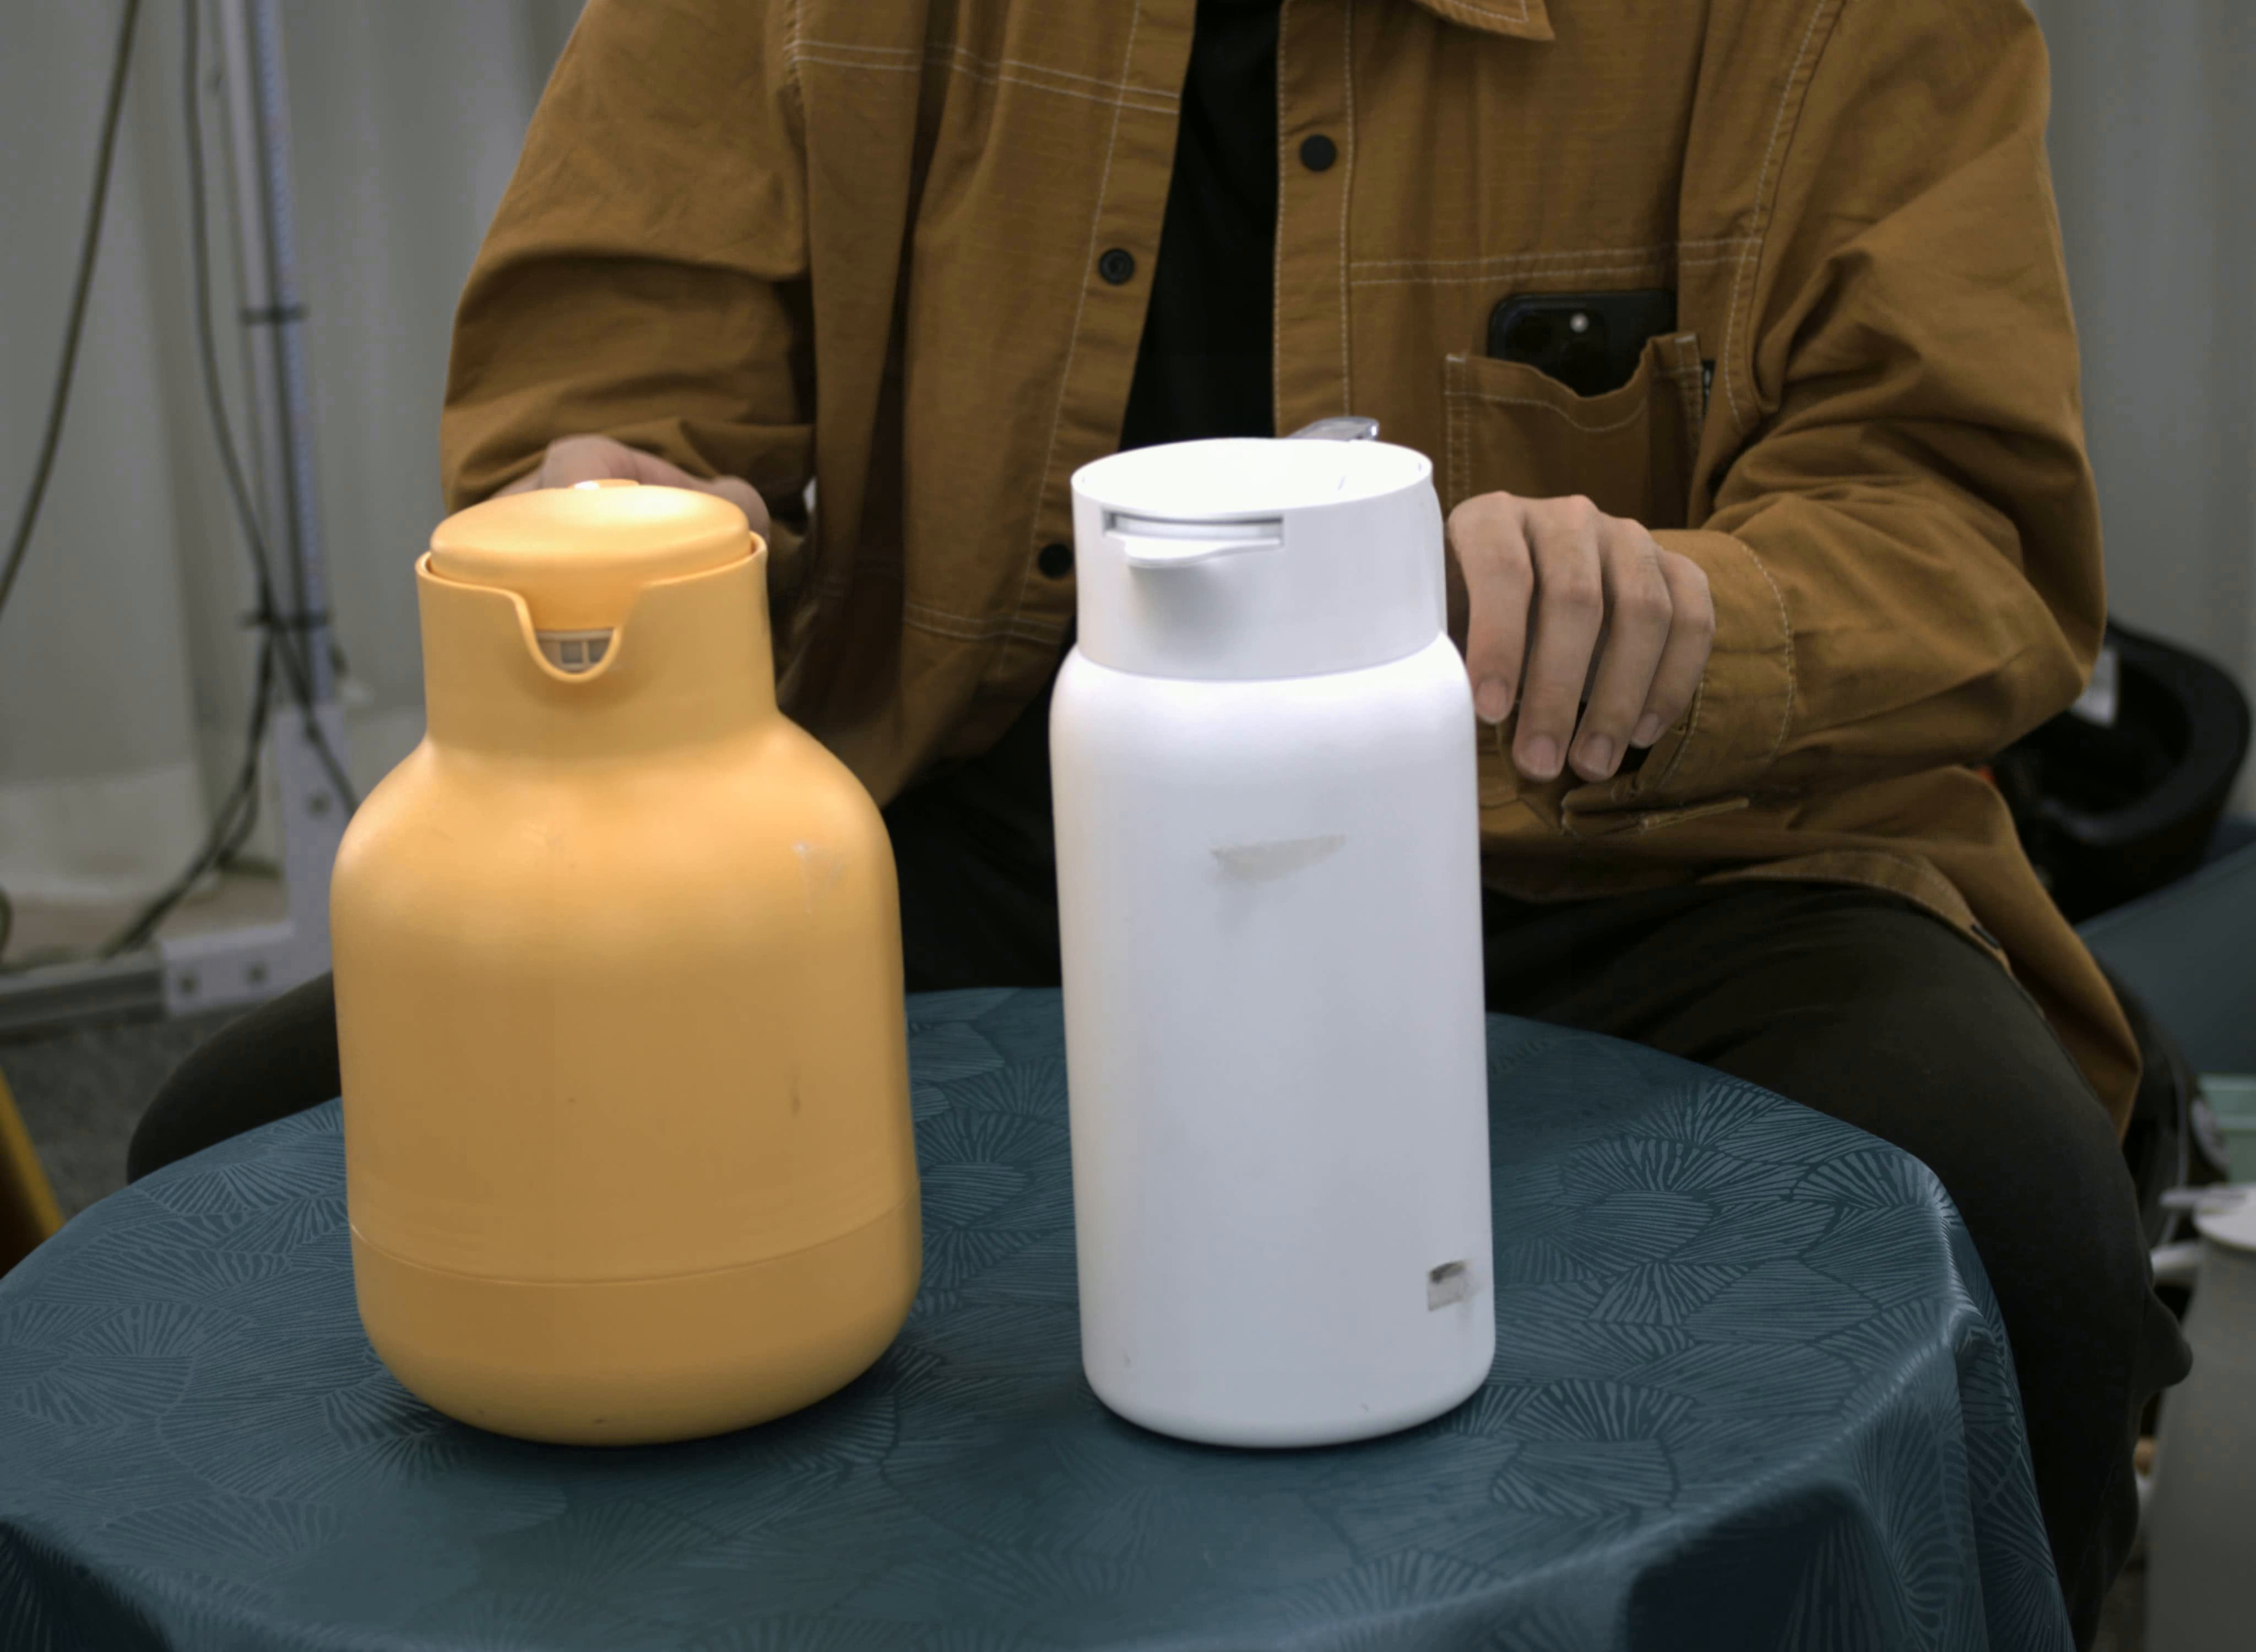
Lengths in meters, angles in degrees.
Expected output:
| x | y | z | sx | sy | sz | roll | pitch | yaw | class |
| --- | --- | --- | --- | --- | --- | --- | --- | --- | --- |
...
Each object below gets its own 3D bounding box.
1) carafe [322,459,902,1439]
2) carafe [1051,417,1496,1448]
| x | y | z | sx | sy | sz | roll | pitch | yaw | class |
| --- | --- | --- | --- | --- | --- | --- | --- | --- | --- |
| -0.144 | 0.026 | 1.562 | 0.163 | 0.259 | 0.204 | 1 | 16 | 1 | carafe |
| 0.046 | 0.025 | 1.526 | 0.124 | 0.268 | 0.173 | 1 | 14 | 25 | carafe |
